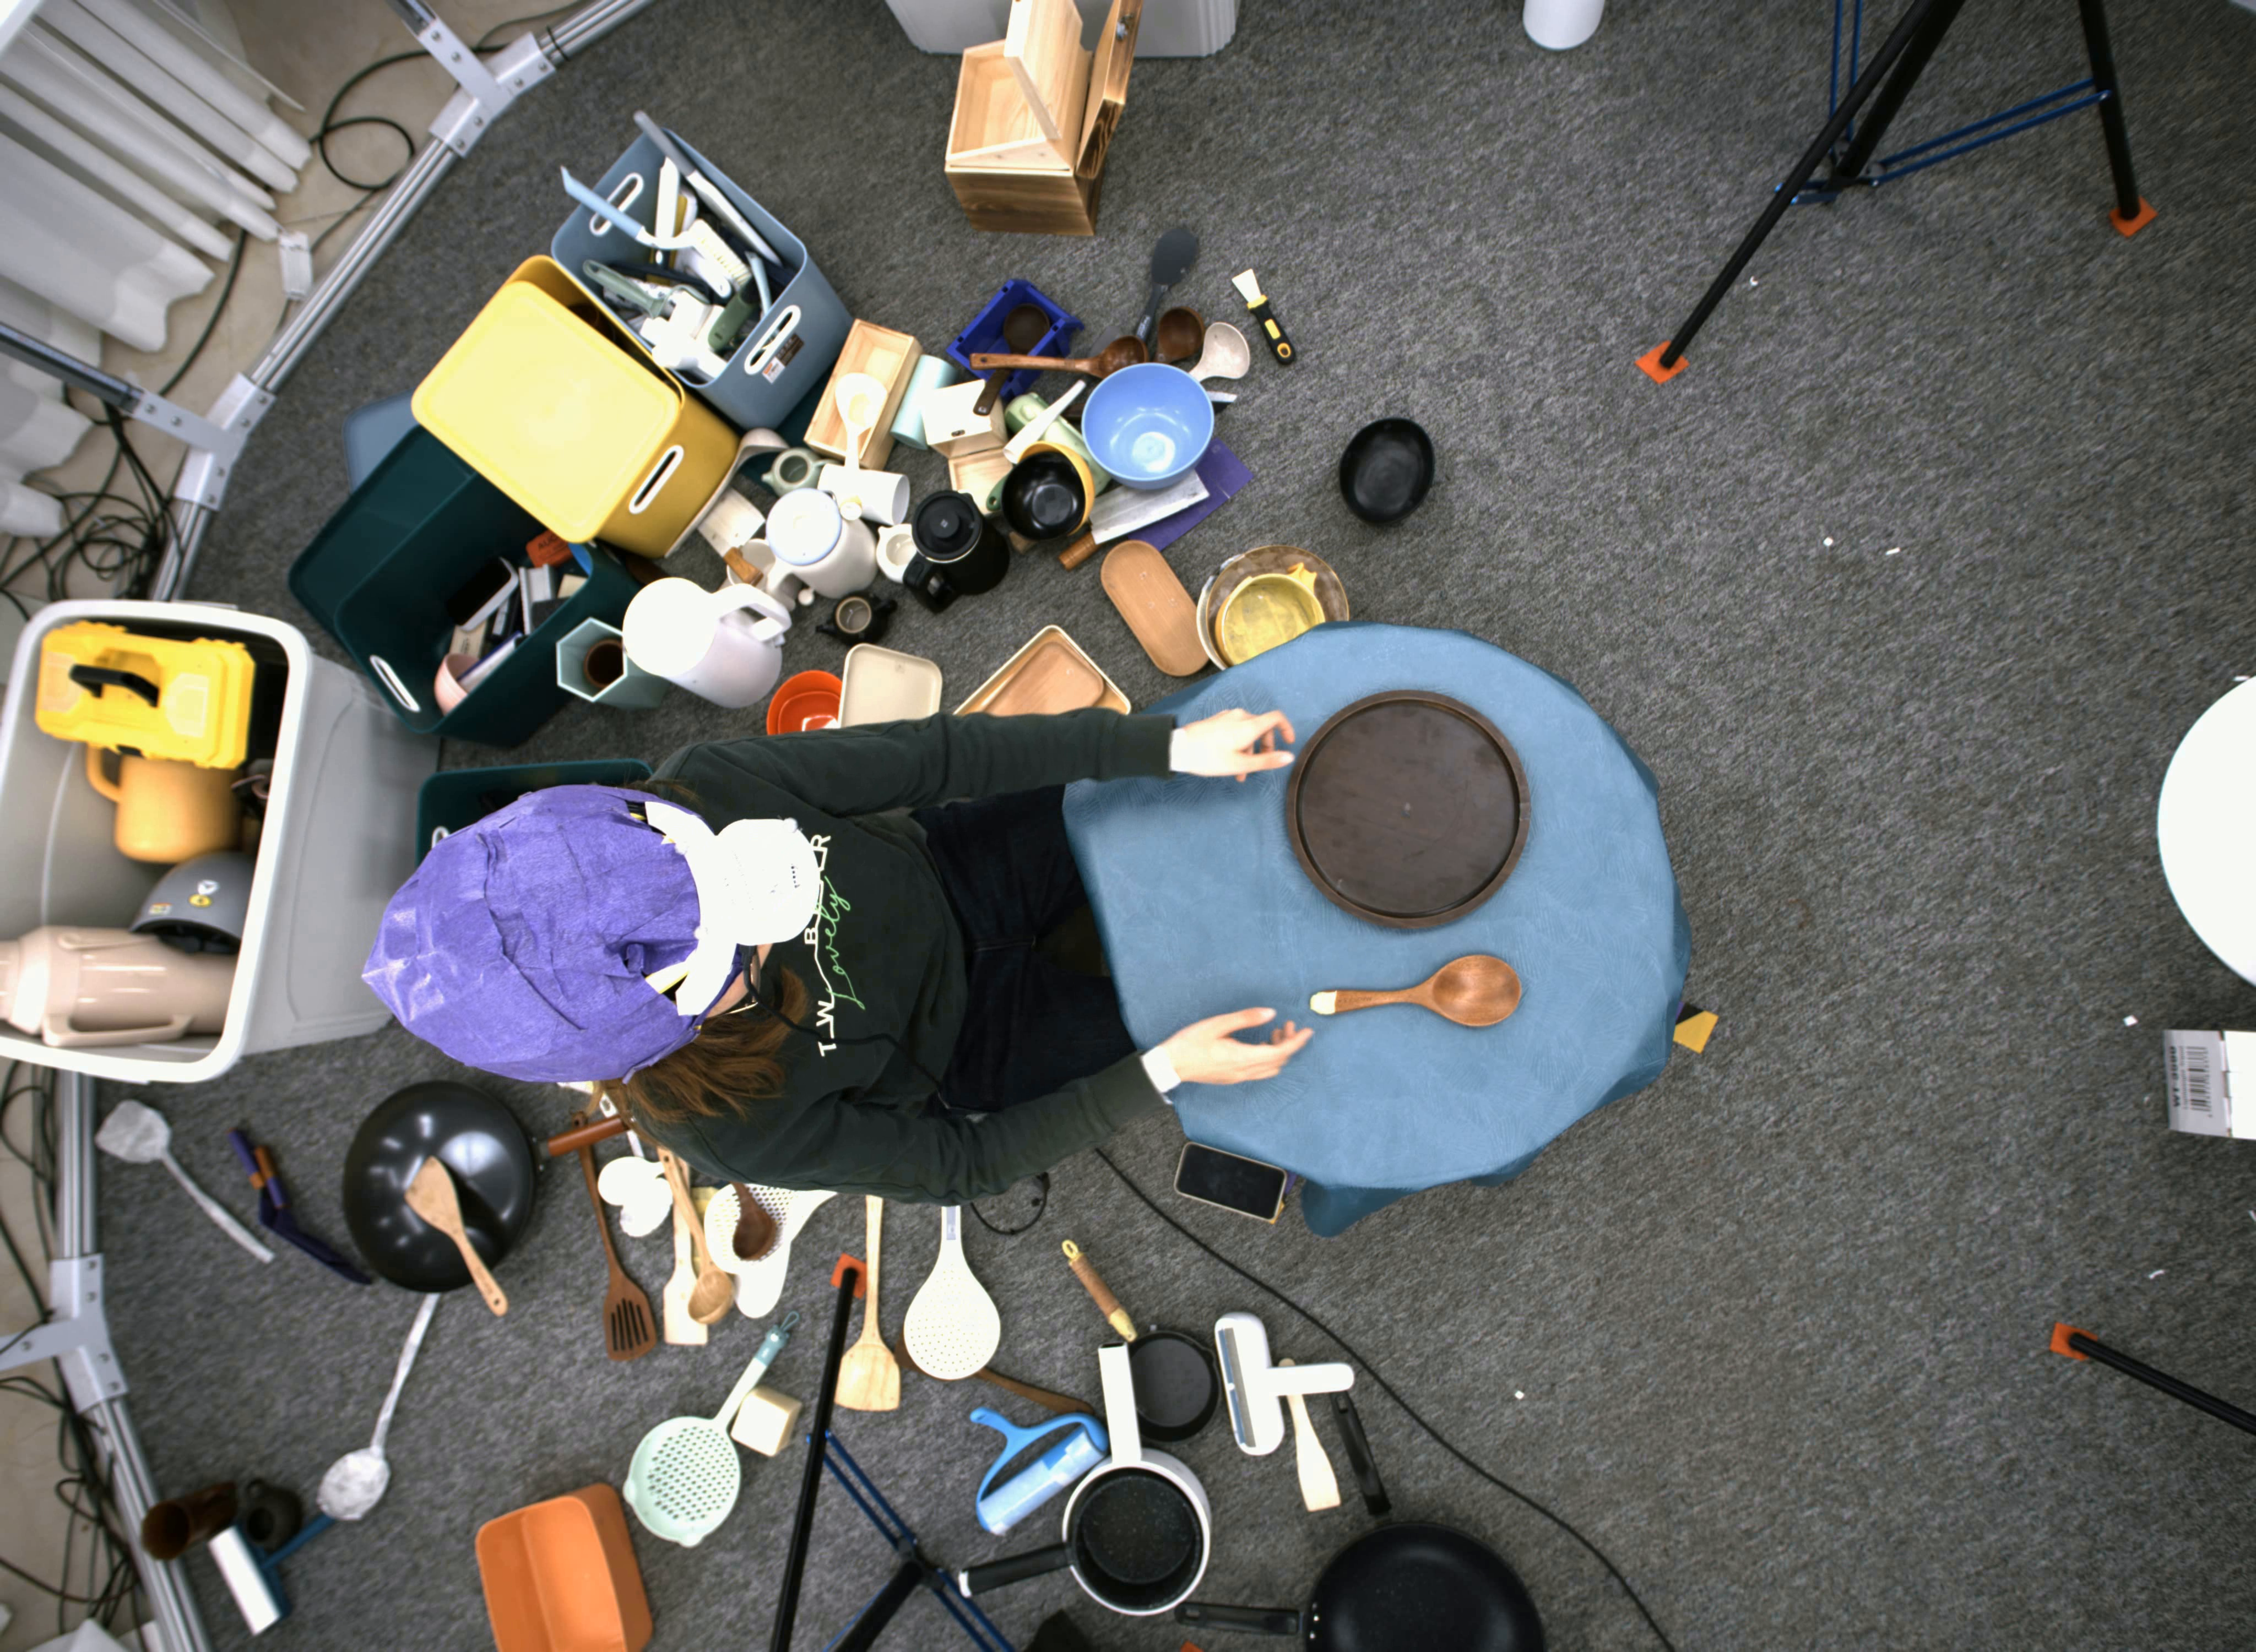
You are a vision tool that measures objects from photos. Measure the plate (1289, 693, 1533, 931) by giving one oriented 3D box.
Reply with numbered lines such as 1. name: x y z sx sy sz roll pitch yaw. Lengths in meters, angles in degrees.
1. plate: 0.297 -0.017 1.455 0.256 0.029 0.253 -1 85 10

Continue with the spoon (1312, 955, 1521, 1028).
1. spoon: 0.300 0.178 1.443 0.217 0.017 0.075 -6 85 10
